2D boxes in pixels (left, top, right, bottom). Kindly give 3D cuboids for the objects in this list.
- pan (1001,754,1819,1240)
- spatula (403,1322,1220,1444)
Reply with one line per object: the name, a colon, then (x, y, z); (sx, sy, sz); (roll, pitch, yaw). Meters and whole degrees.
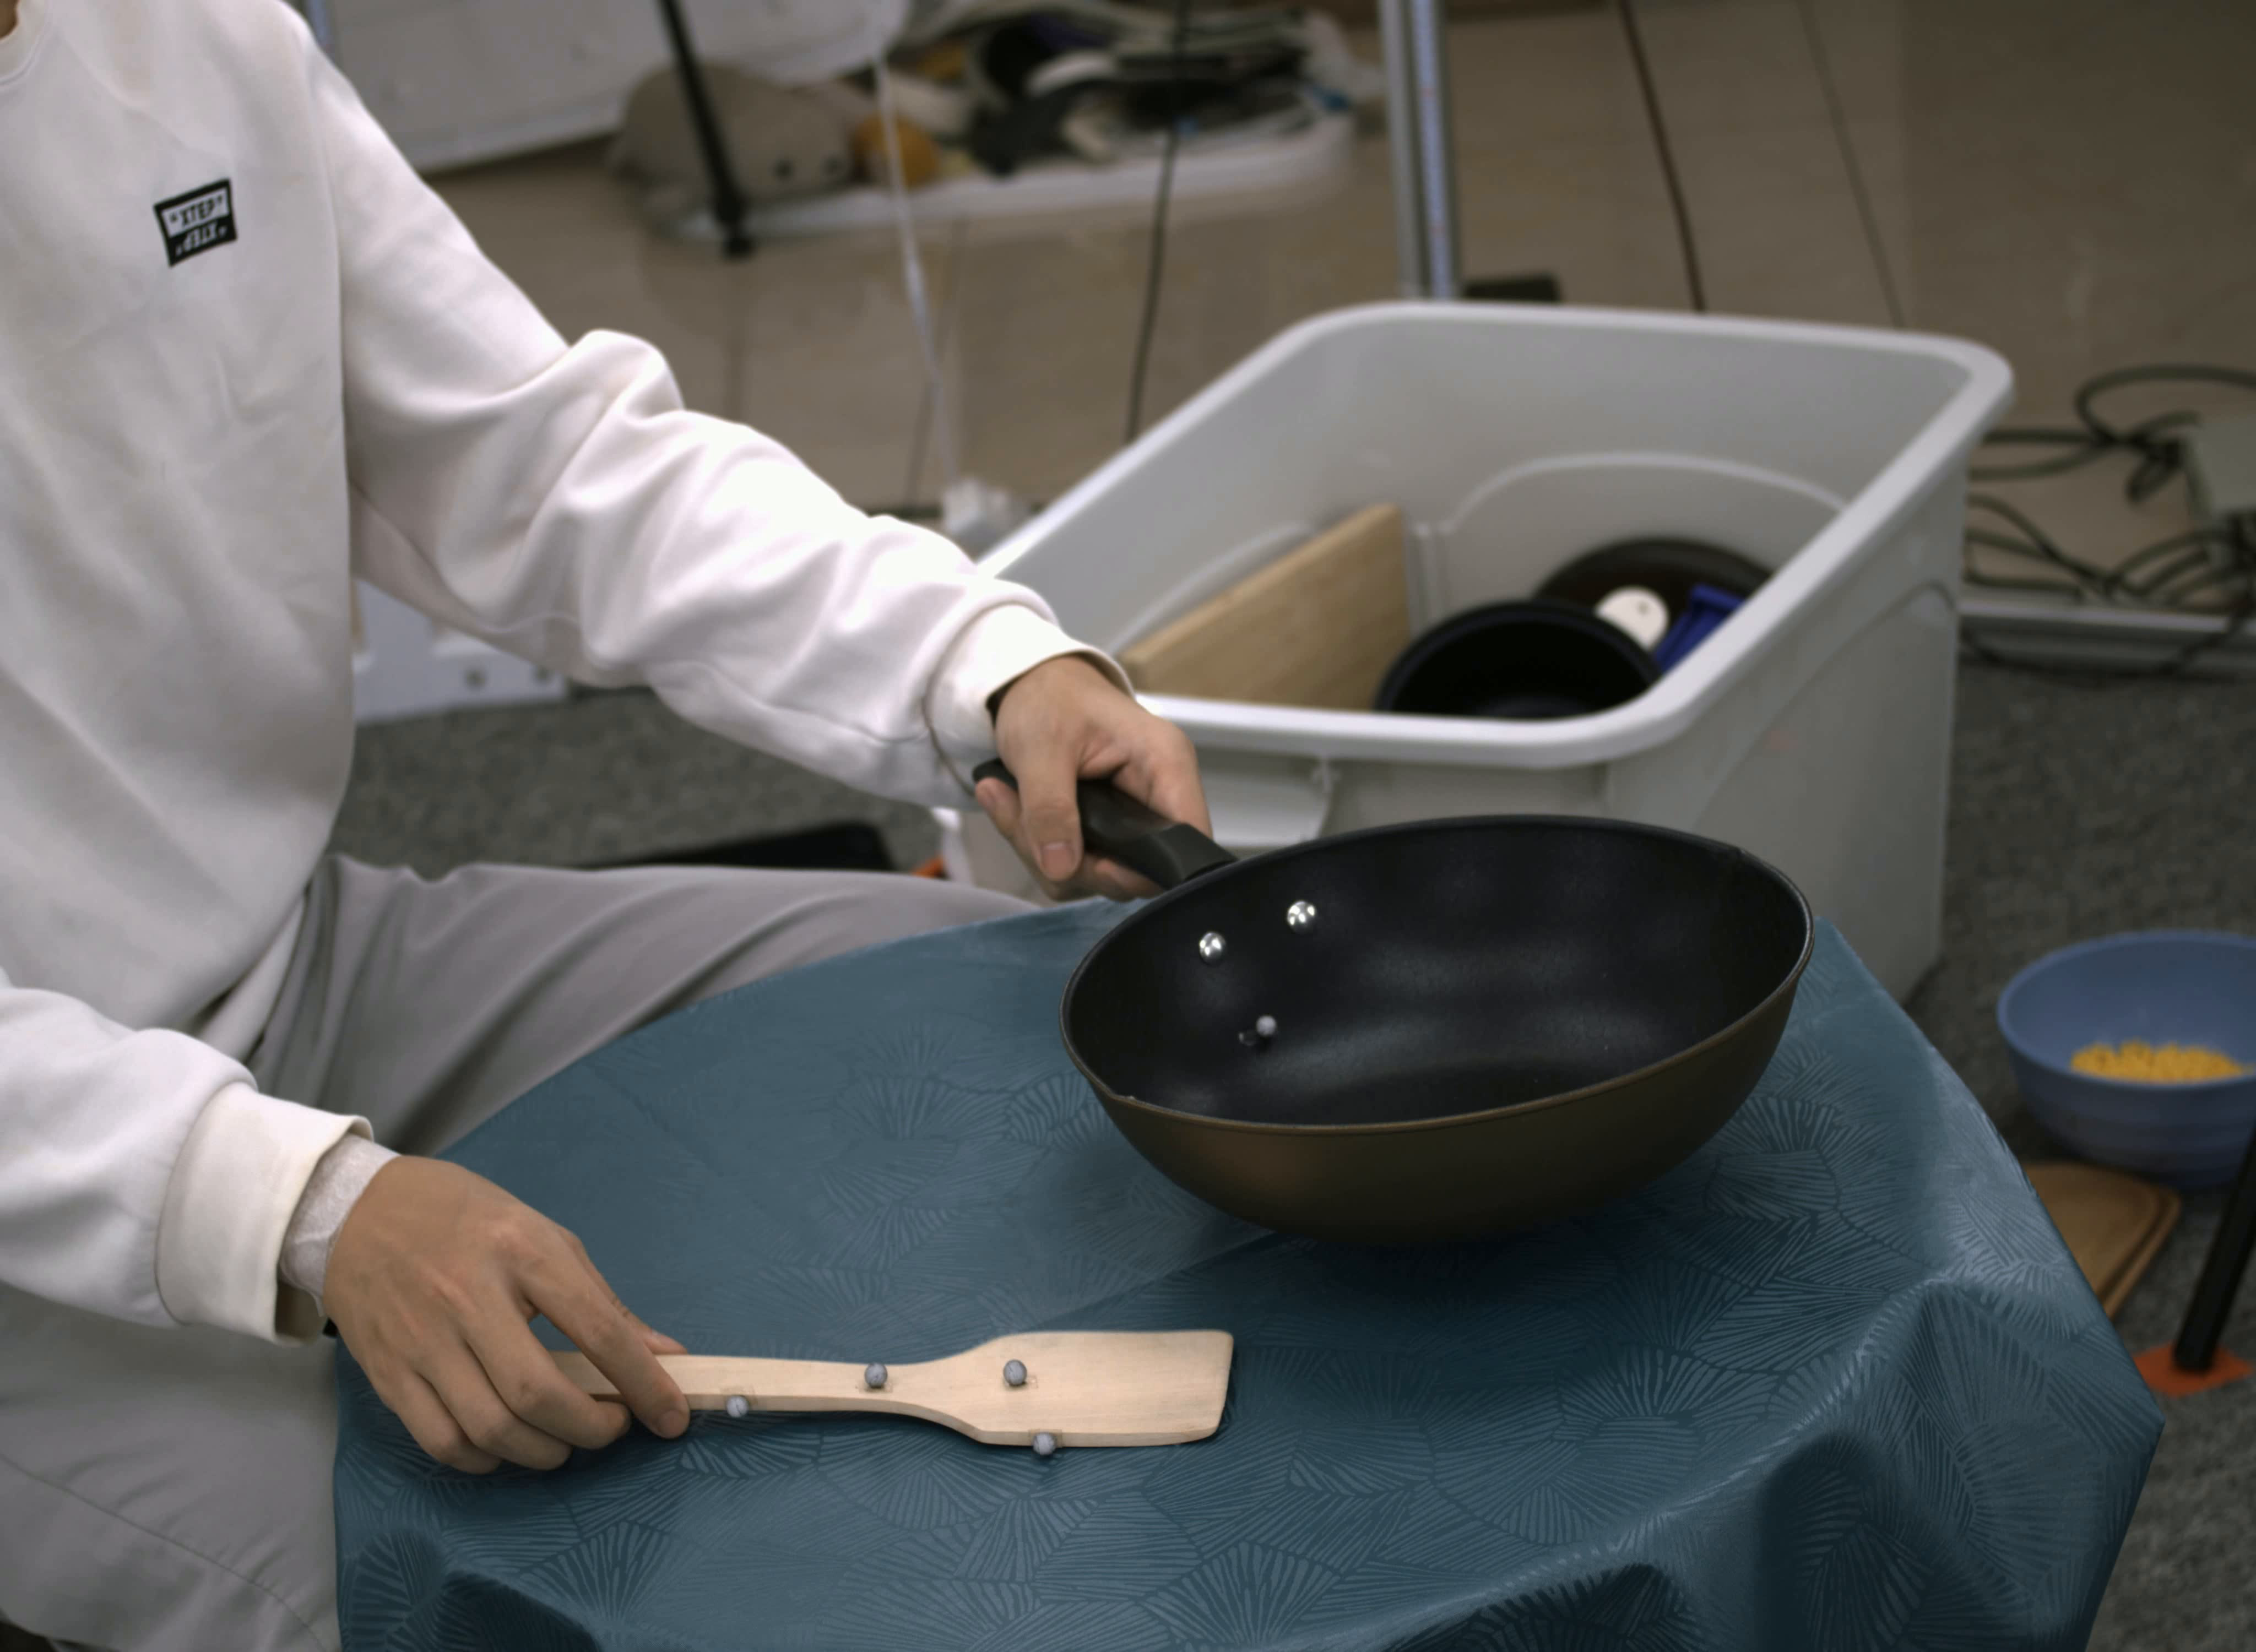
pan: (0.071, 0.062, 2.176); (0.286, 0.088, 0.459); (-20, 23, -26)
spatula: (-0.114, 0.197, 2.018); (0.292, 0.011, 0.071); (0, 28, 6)
